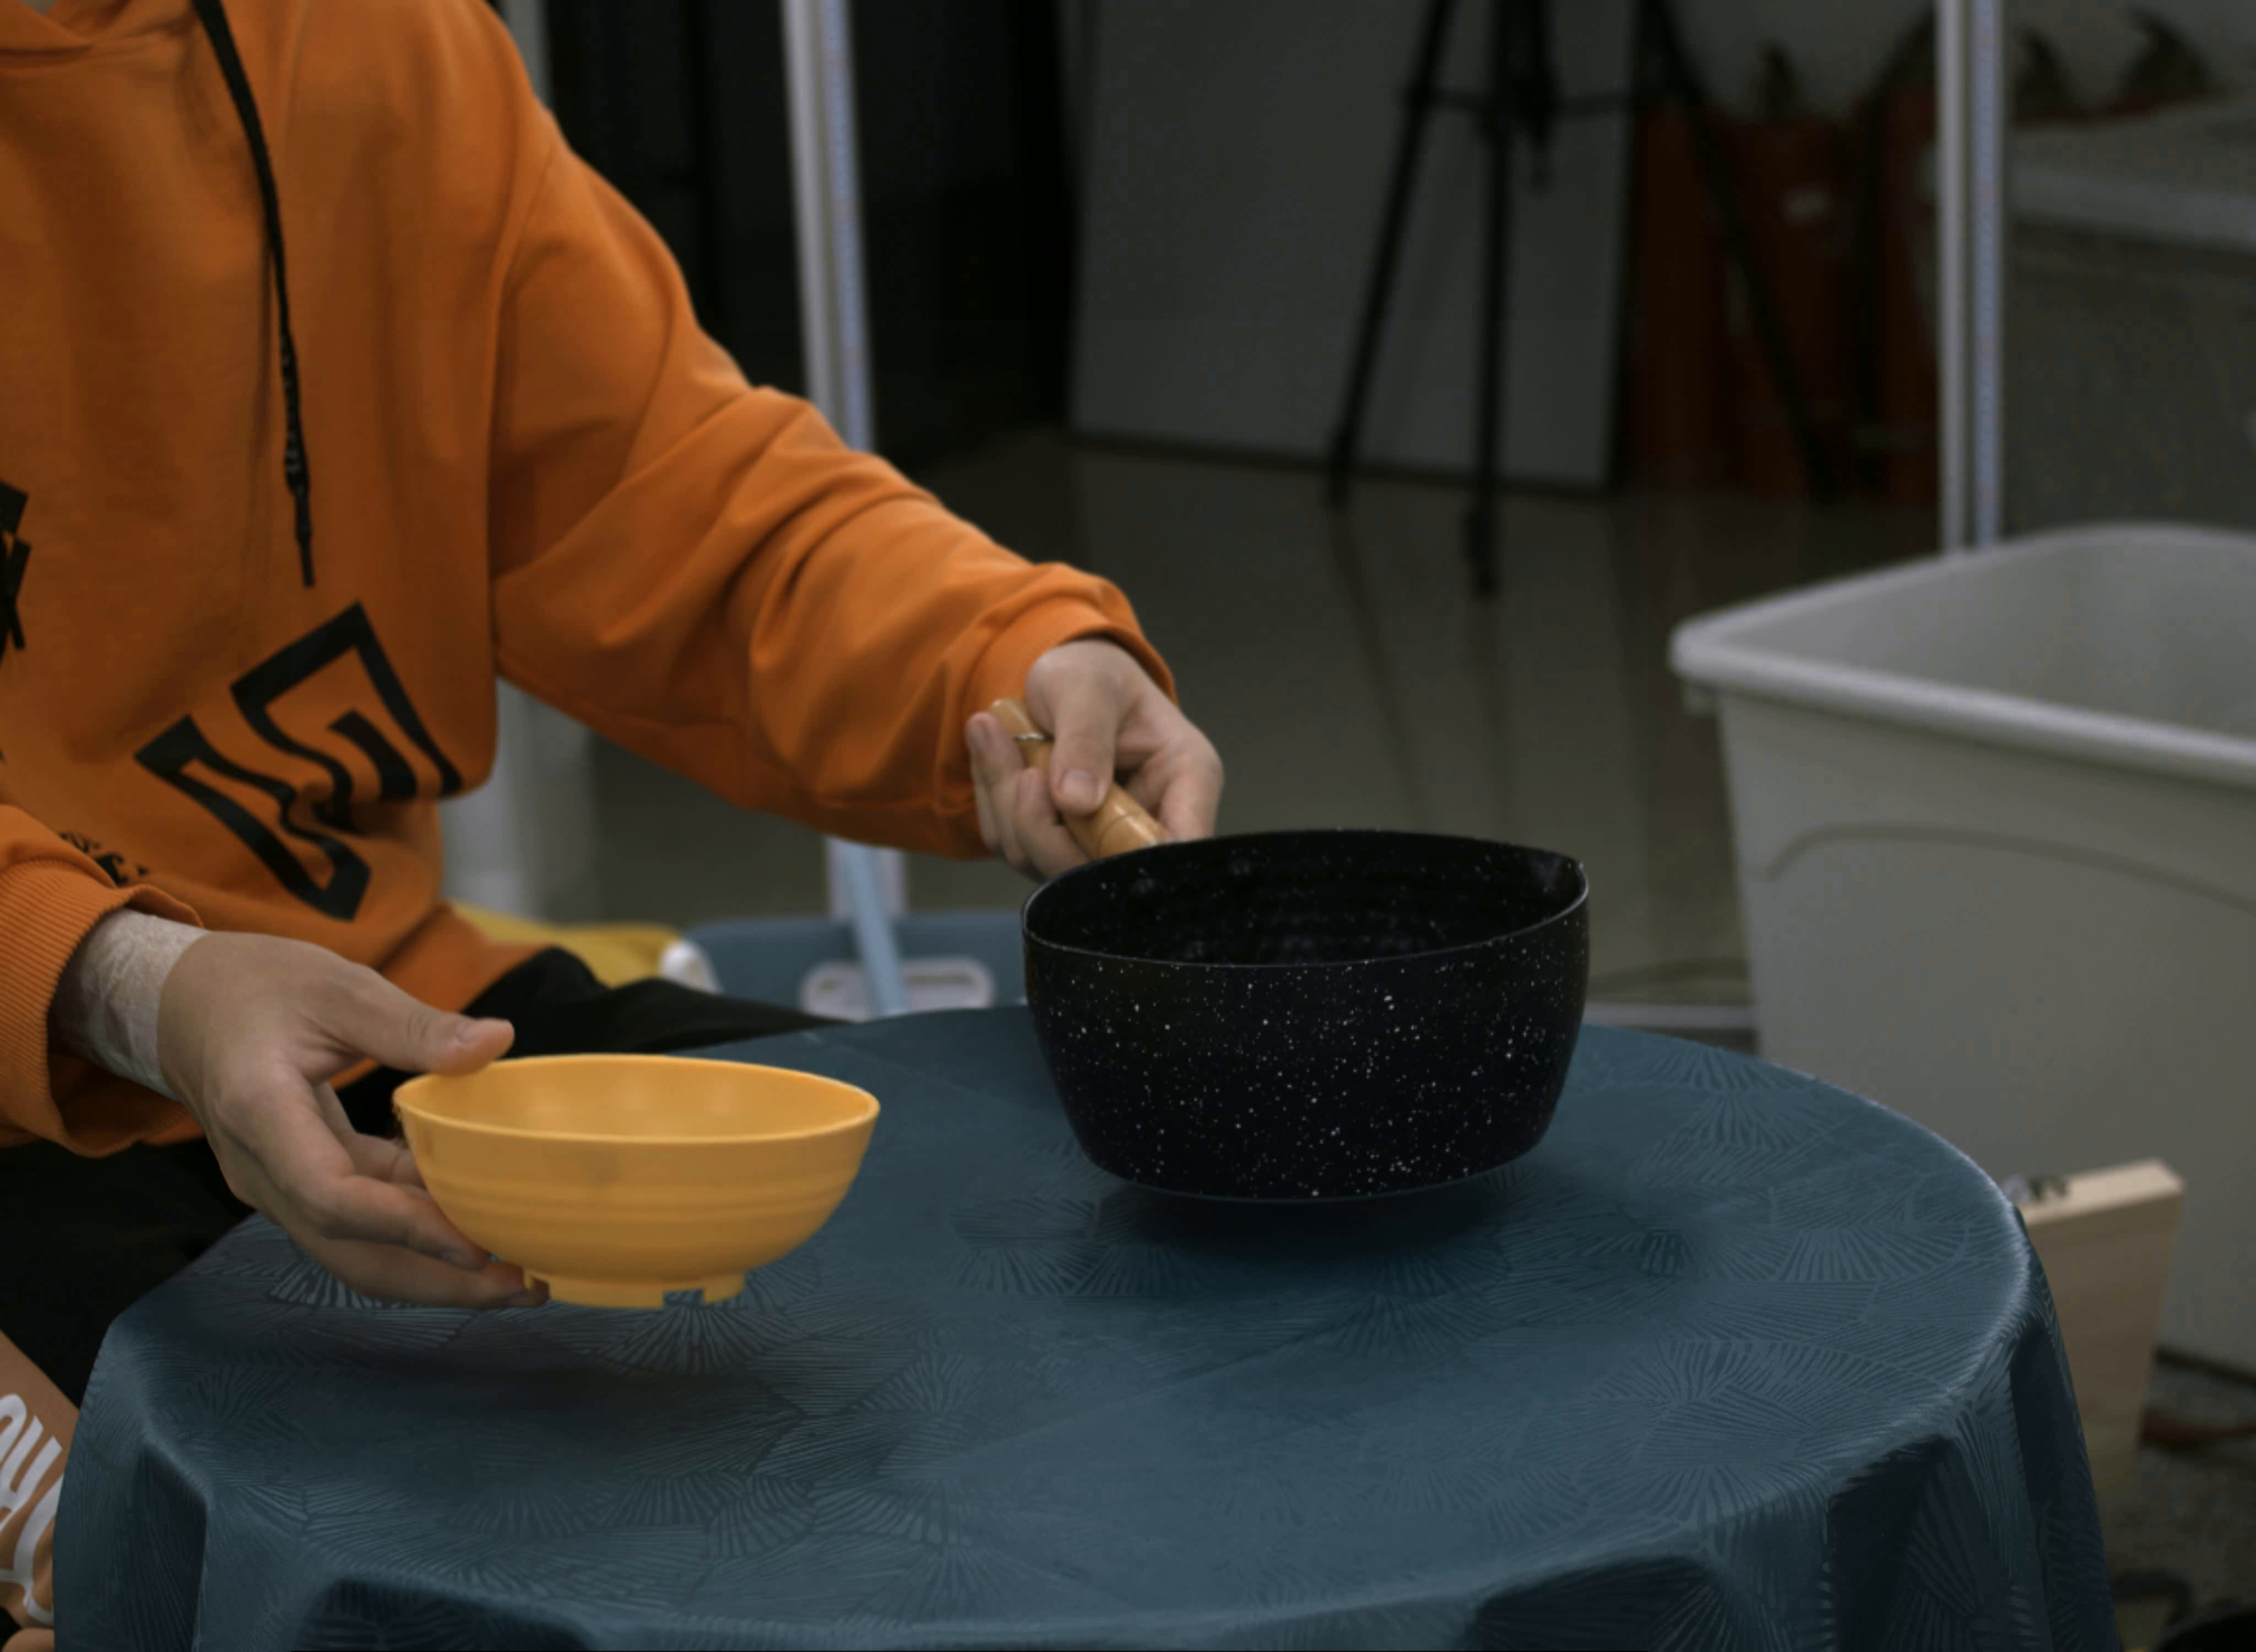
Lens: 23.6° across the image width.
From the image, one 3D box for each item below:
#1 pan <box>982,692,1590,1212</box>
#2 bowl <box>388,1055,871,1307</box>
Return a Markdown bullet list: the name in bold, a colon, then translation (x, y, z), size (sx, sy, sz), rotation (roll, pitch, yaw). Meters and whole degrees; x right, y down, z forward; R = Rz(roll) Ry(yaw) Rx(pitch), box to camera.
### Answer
- **pan**: translation (0.025, 0.036, 1.807), size (0.203, 0.109, 0.346), rotation (-10, 15, -23)
- **bowl**: translation (-0.149, 0.107, 1.606), size (0.143, 0.061, 0.145), rotation (3, 5, -1)
